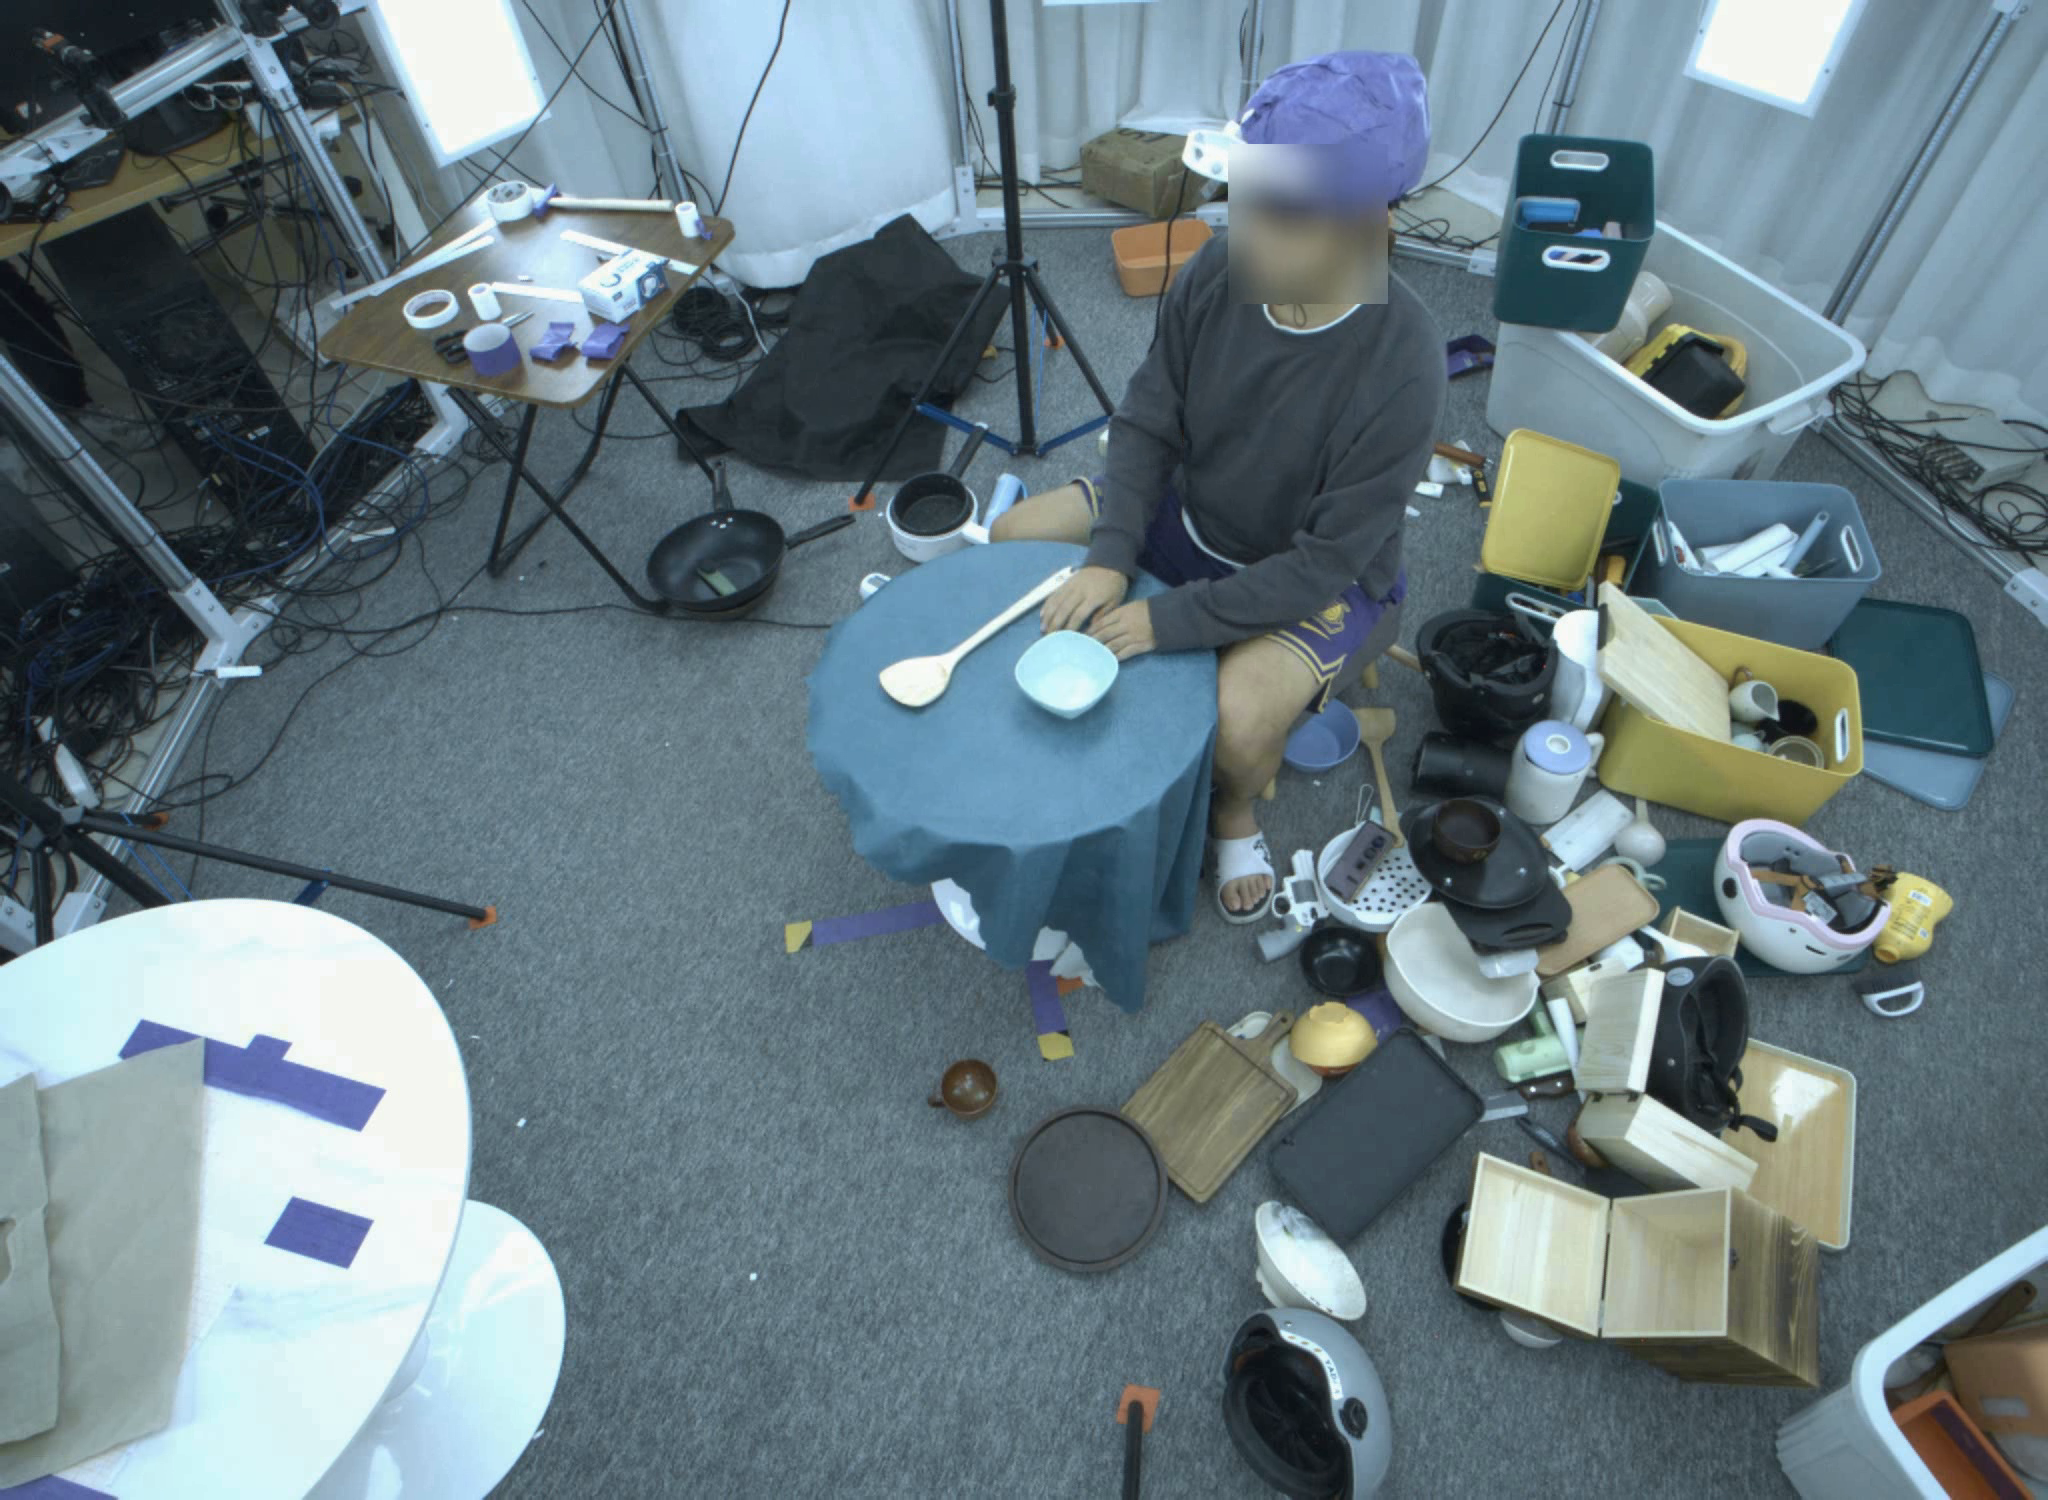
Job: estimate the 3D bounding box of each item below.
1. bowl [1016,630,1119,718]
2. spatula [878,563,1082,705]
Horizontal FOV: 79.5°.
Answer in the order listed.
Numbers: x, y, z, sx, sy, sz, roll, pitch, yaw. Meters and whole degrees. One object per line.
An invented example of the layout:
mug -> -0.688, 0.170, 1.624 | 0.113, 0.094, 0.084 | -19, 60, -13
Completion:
bowl -> 0.065, -0.102, 1.827 | 0.151, 0.059, 0.150 | -1, 56, 3
spatula -> -0.058, -0.192, 1.918 | 0.393, 0.018, 0.094 | -38, 64, -22
